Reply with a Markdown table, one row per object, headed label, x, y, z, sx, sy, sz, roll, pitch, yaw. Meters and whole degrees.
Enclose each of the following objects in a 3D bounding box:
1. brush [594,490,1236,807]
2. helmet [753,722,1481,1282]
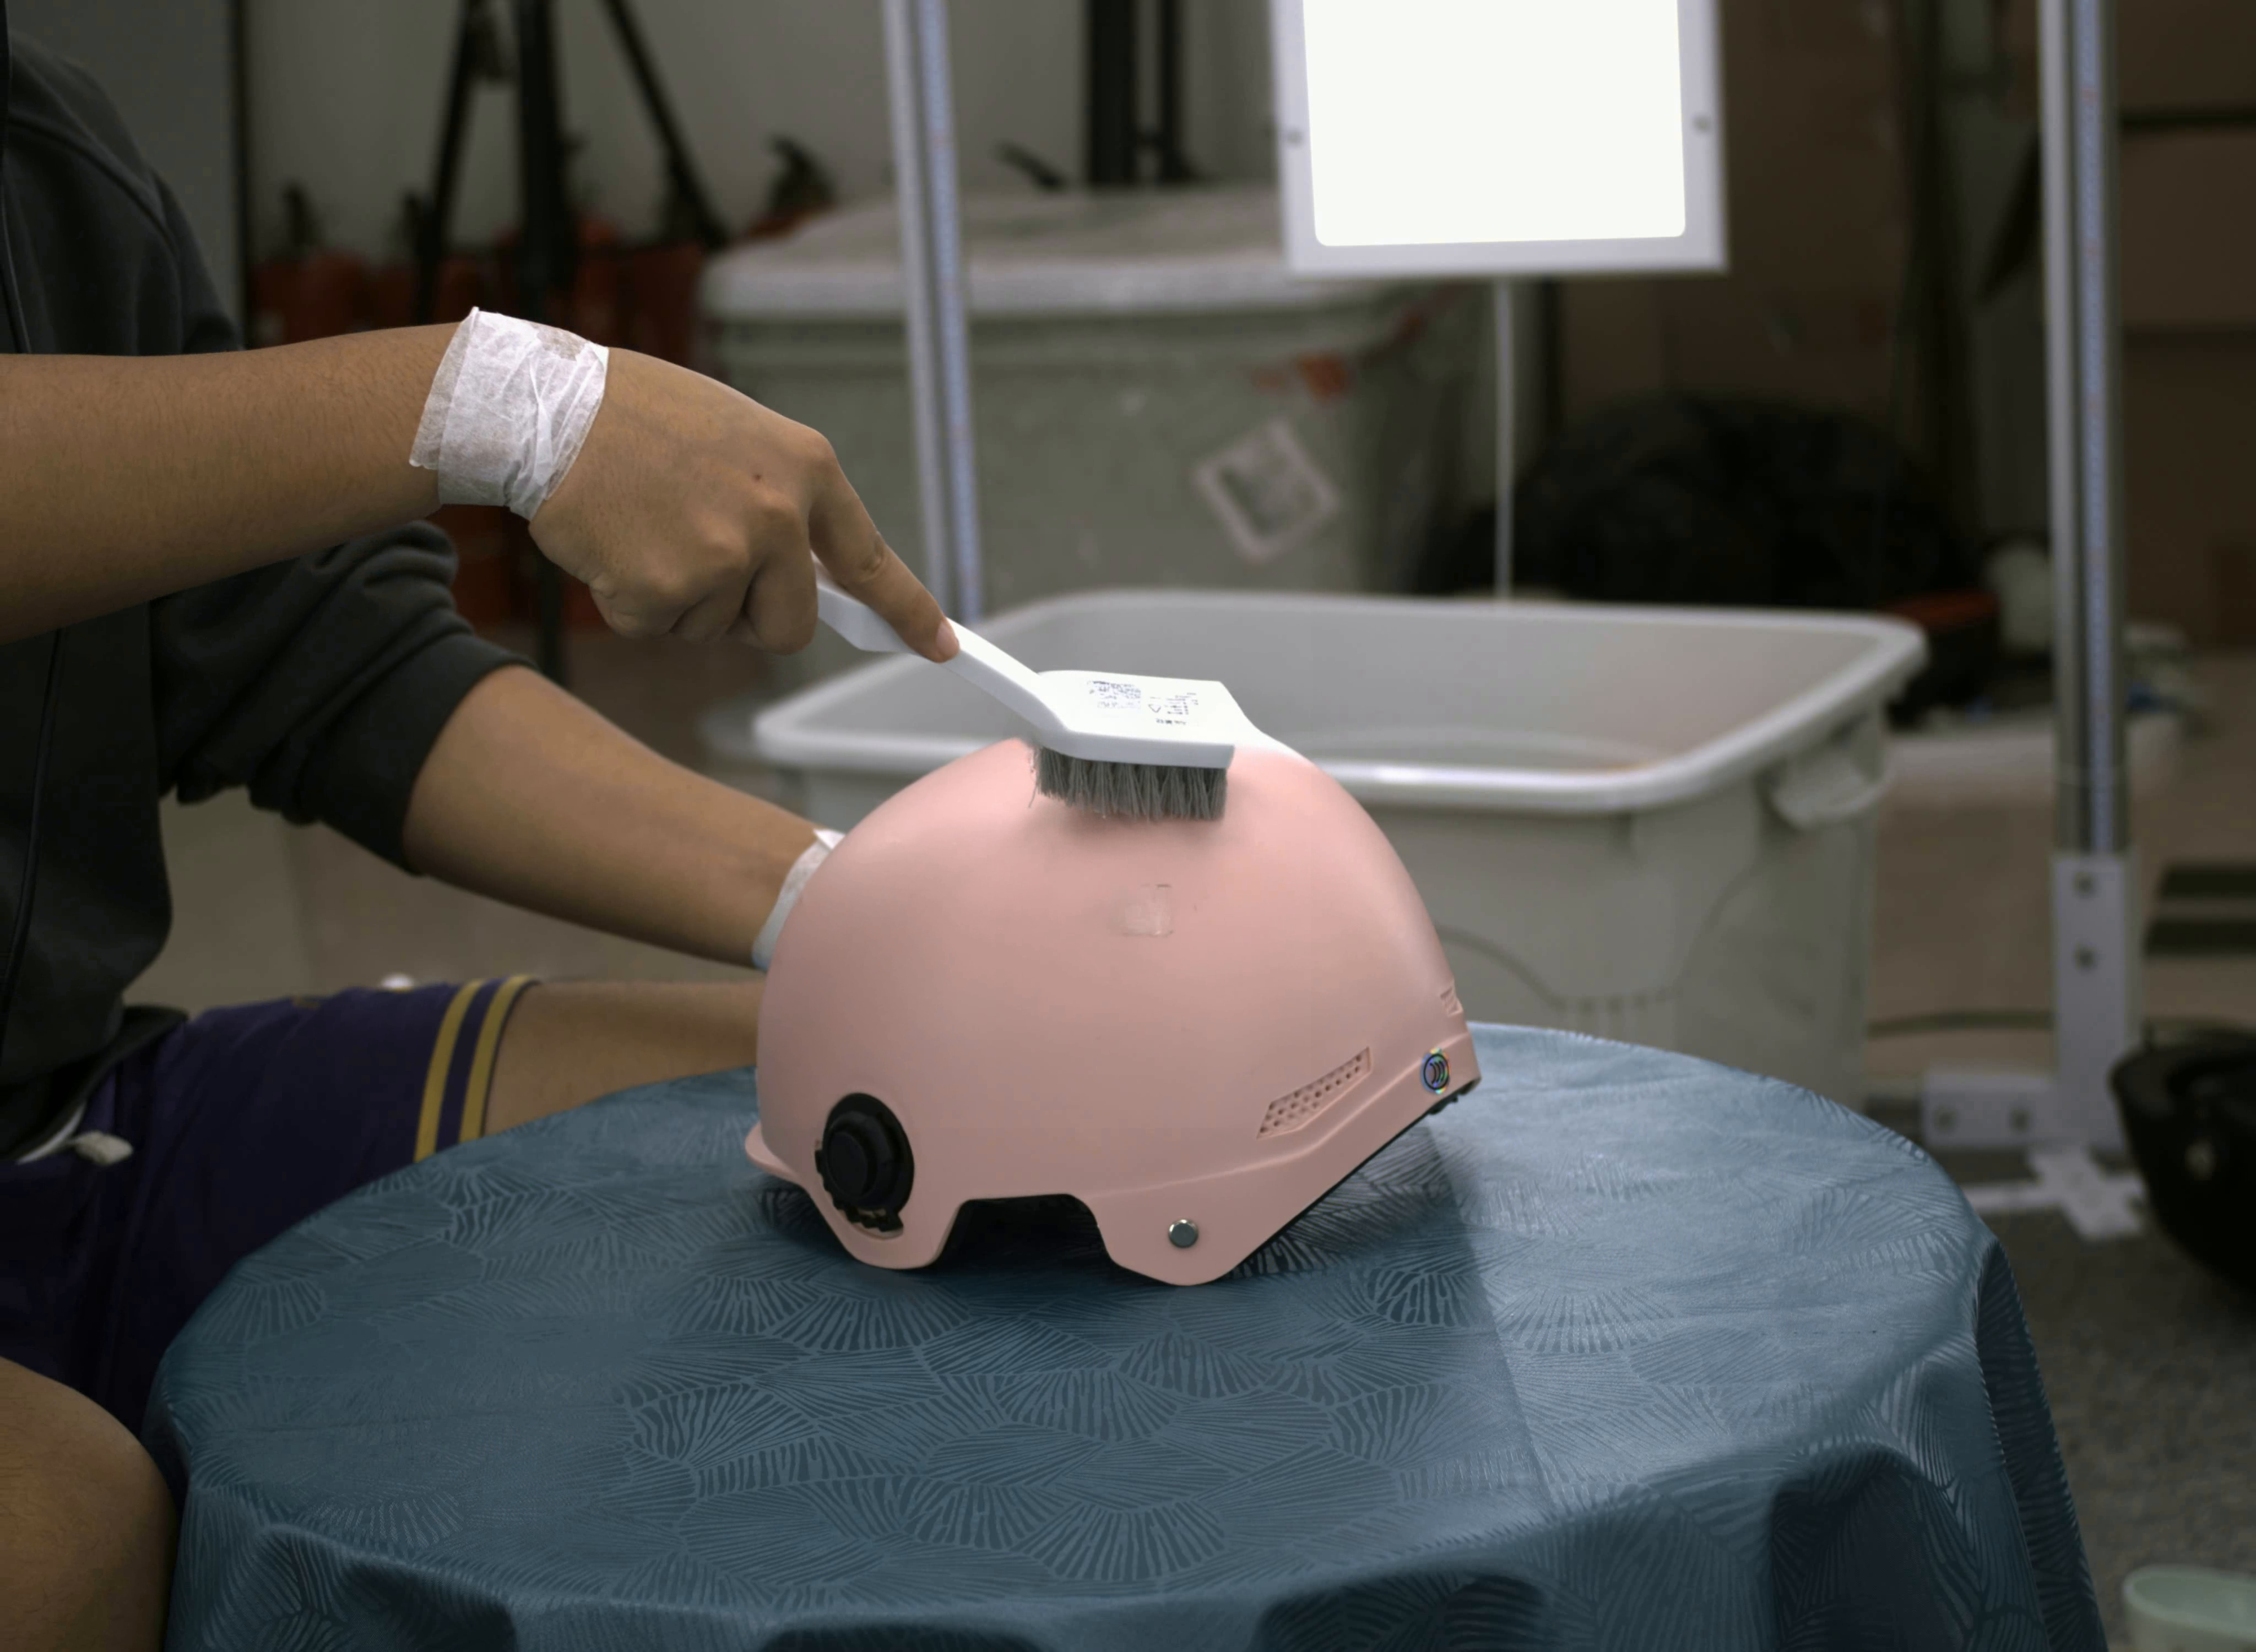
| label | x | y | z | sx | sy | sz | roll | pitch | yaw |
| --- | --- | --- | --- | --- | --- | --- | --- | --- | --- |
| brush | -0.070 | -0.053 | 1.759 | 0.239 | 0.051 | 0.034 | 17 | 35 | -26 |
| helmet | -0.016 | 0.045 | 1.889 | 0.271 | 0.159 | 0.228 | 0 | 19 | 35 |
